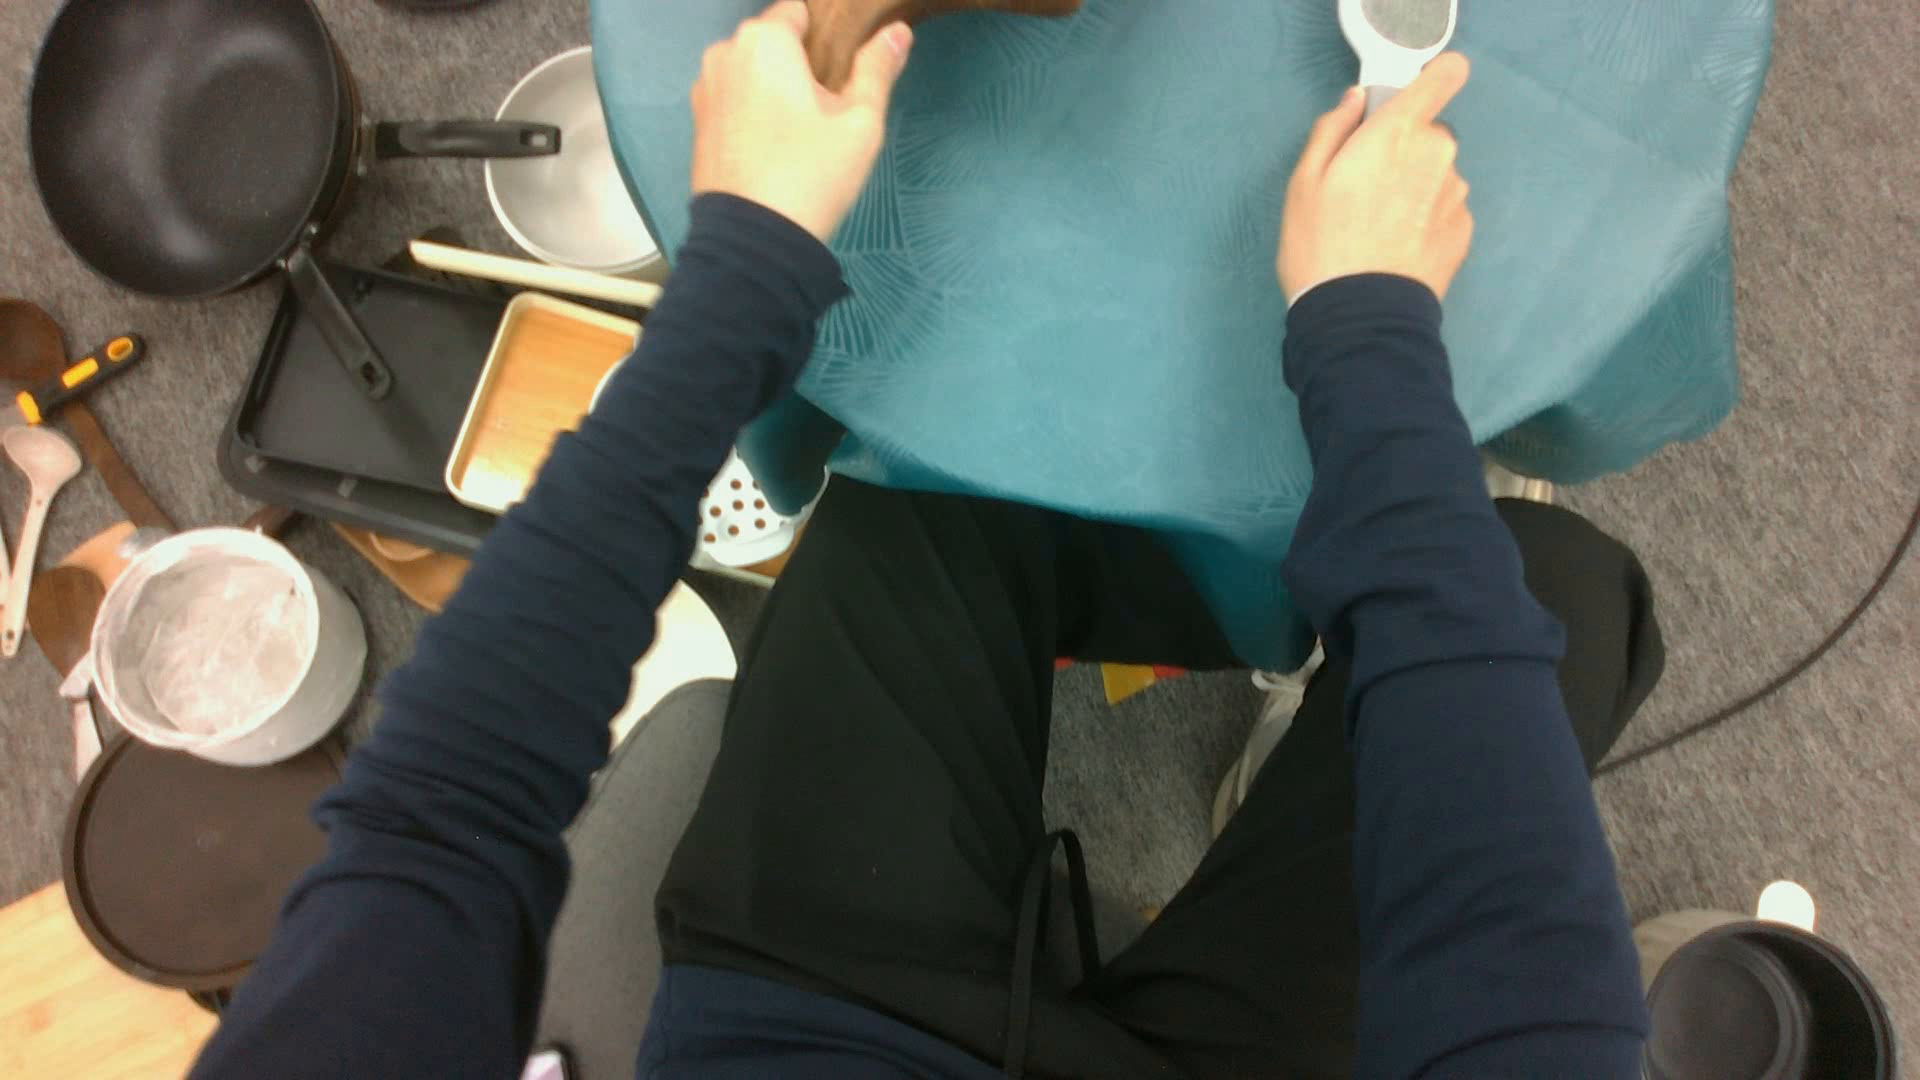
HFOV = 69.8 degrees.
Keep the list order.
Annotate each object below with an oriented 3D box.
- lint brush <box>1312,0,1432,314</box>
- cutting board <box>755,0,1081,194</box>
[{"bbox_3d":[0.198,-0.253,0.664,0.060,0.021,0.309,14,76,-16],"label":"lint brush"},{"bbox_3d":[-0.023,-0.318,0.653,0.201,0.023,0.353,14,73,16],"label":"cutting board"}]
